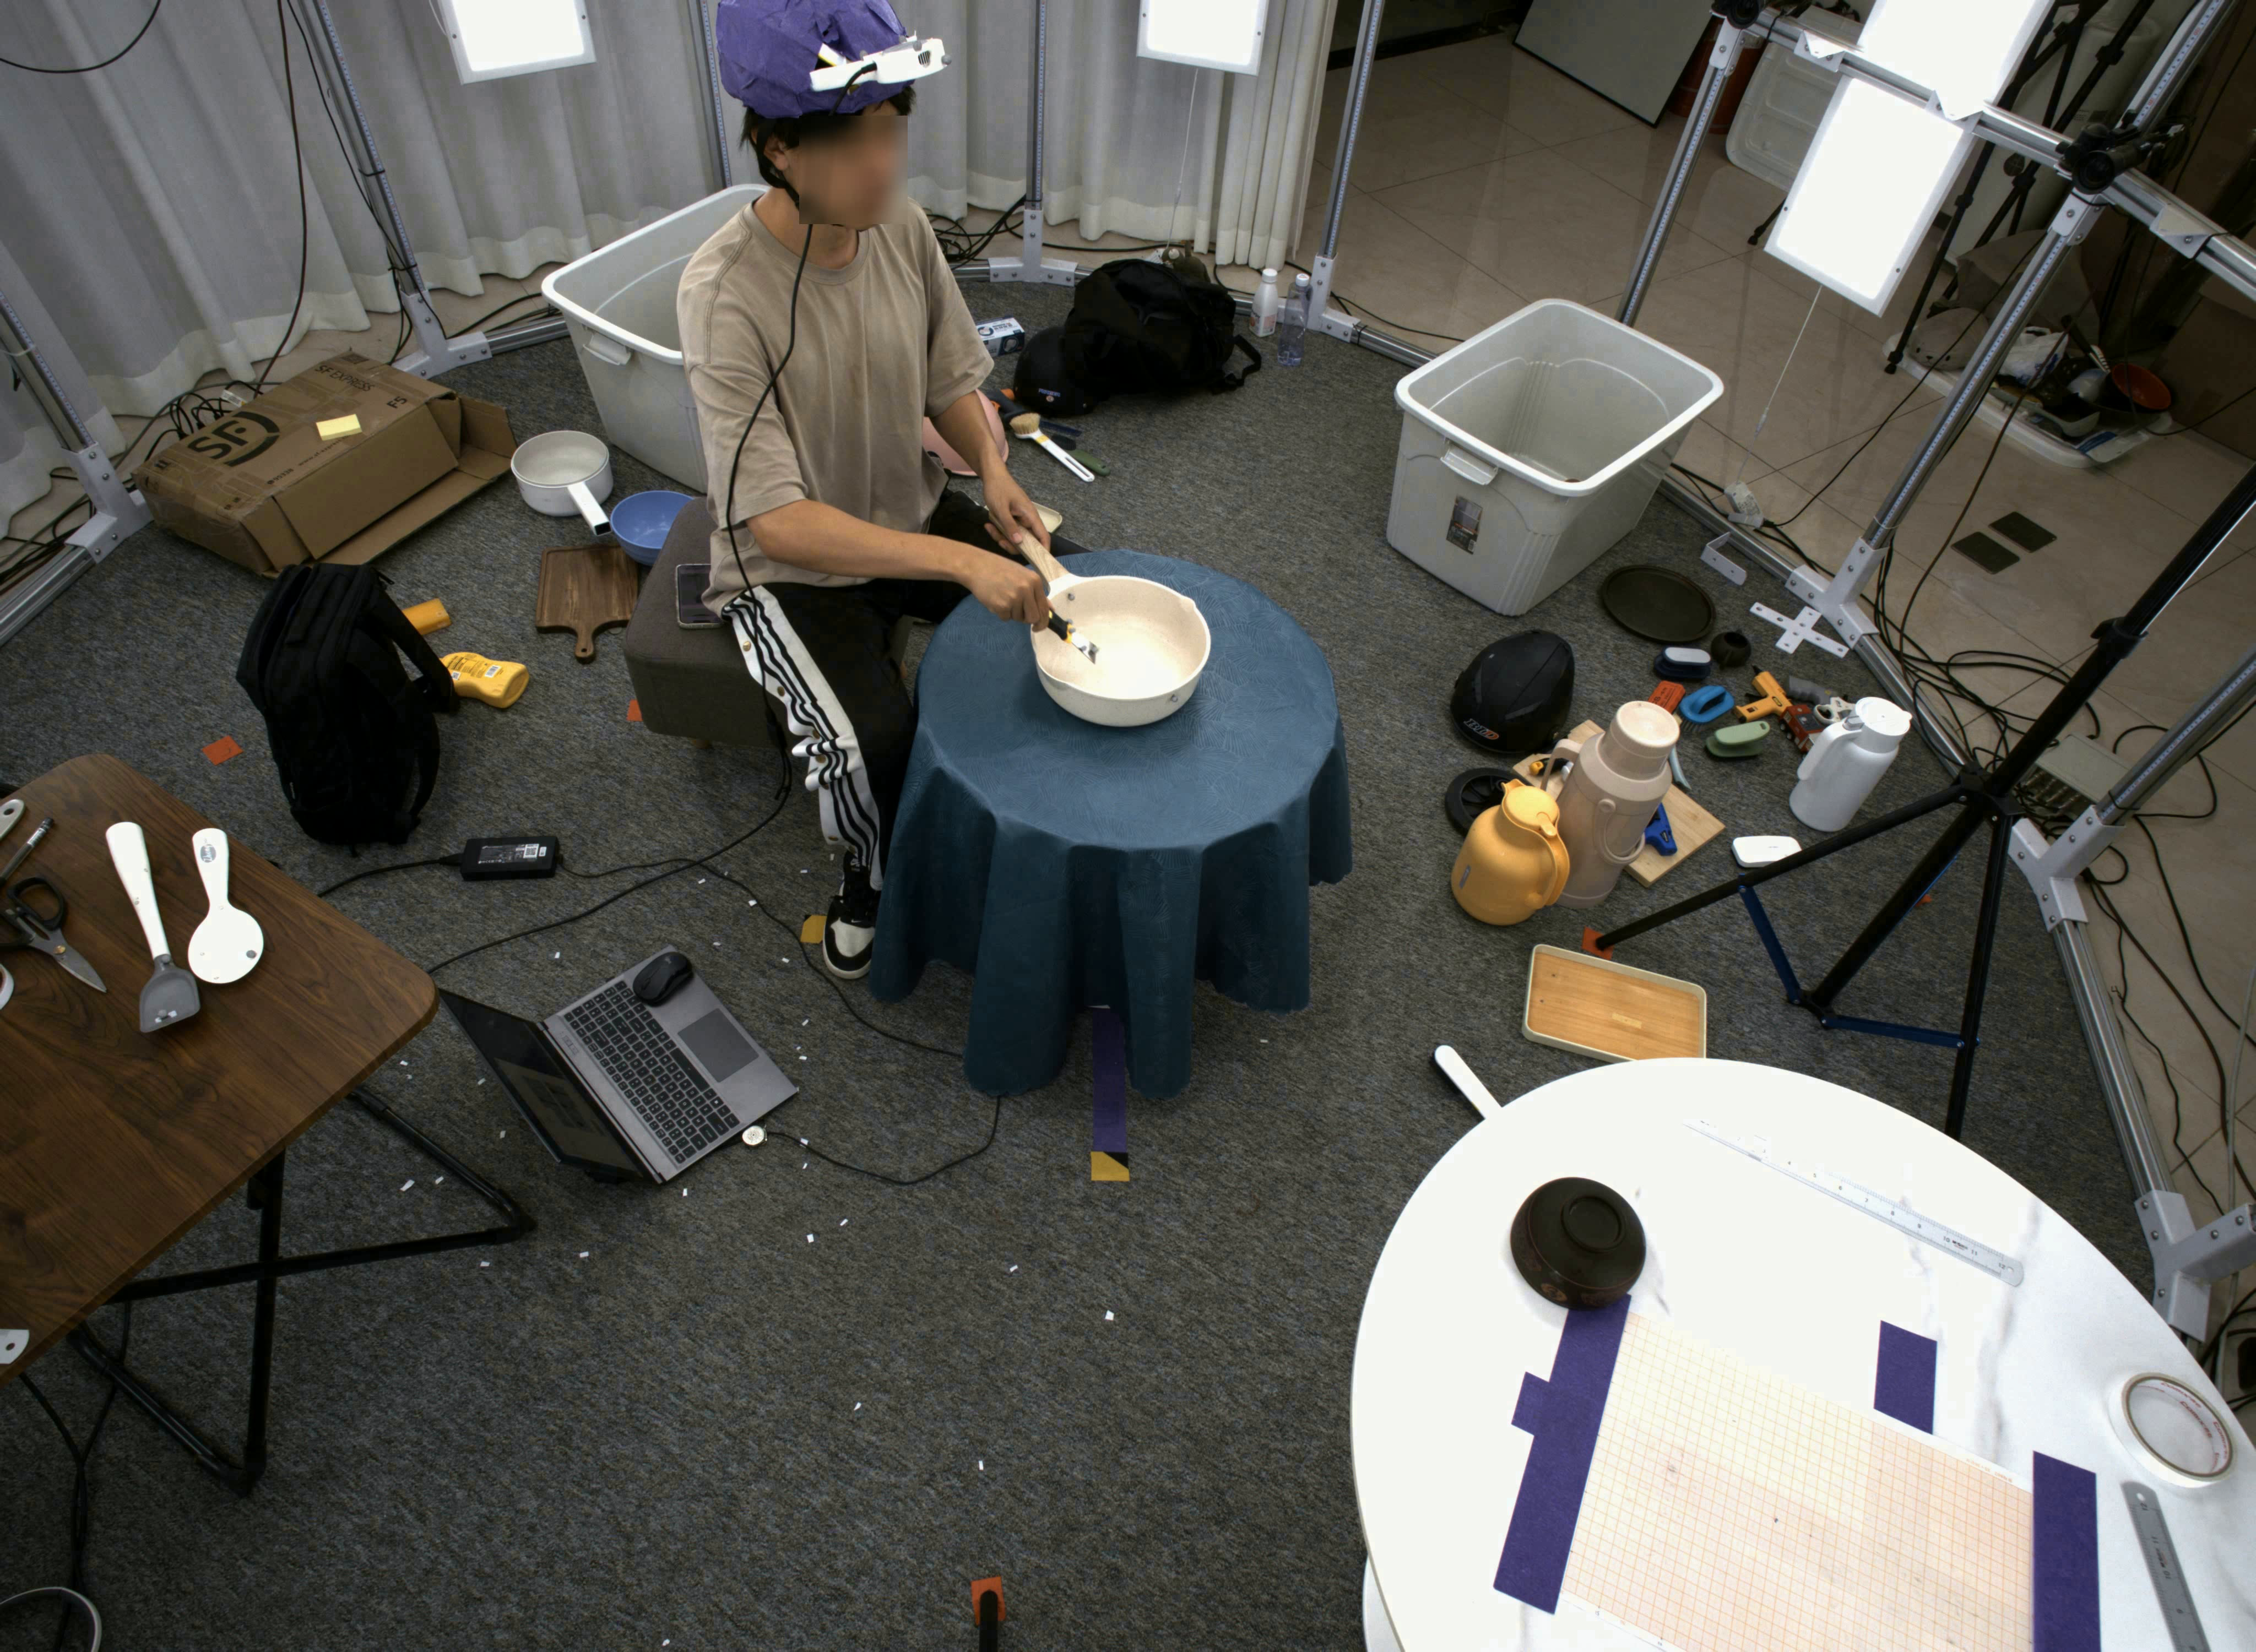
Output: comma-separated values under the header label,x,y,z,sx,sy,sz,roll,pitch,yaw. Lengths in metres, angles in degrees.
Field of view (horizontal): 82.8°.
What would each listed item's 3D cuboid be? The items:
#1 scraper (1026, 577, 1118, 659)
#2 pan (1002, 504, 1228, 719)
label,x,y,z,sx,sy,sz,roll,pitch,yaw
scraper,-0.074,-0.282,1.739,0.168,0.015,0.039,33,51,-36
pan,-0.044,-0.315,1.864,0.265,0.099,0.442,-30,58,-25
